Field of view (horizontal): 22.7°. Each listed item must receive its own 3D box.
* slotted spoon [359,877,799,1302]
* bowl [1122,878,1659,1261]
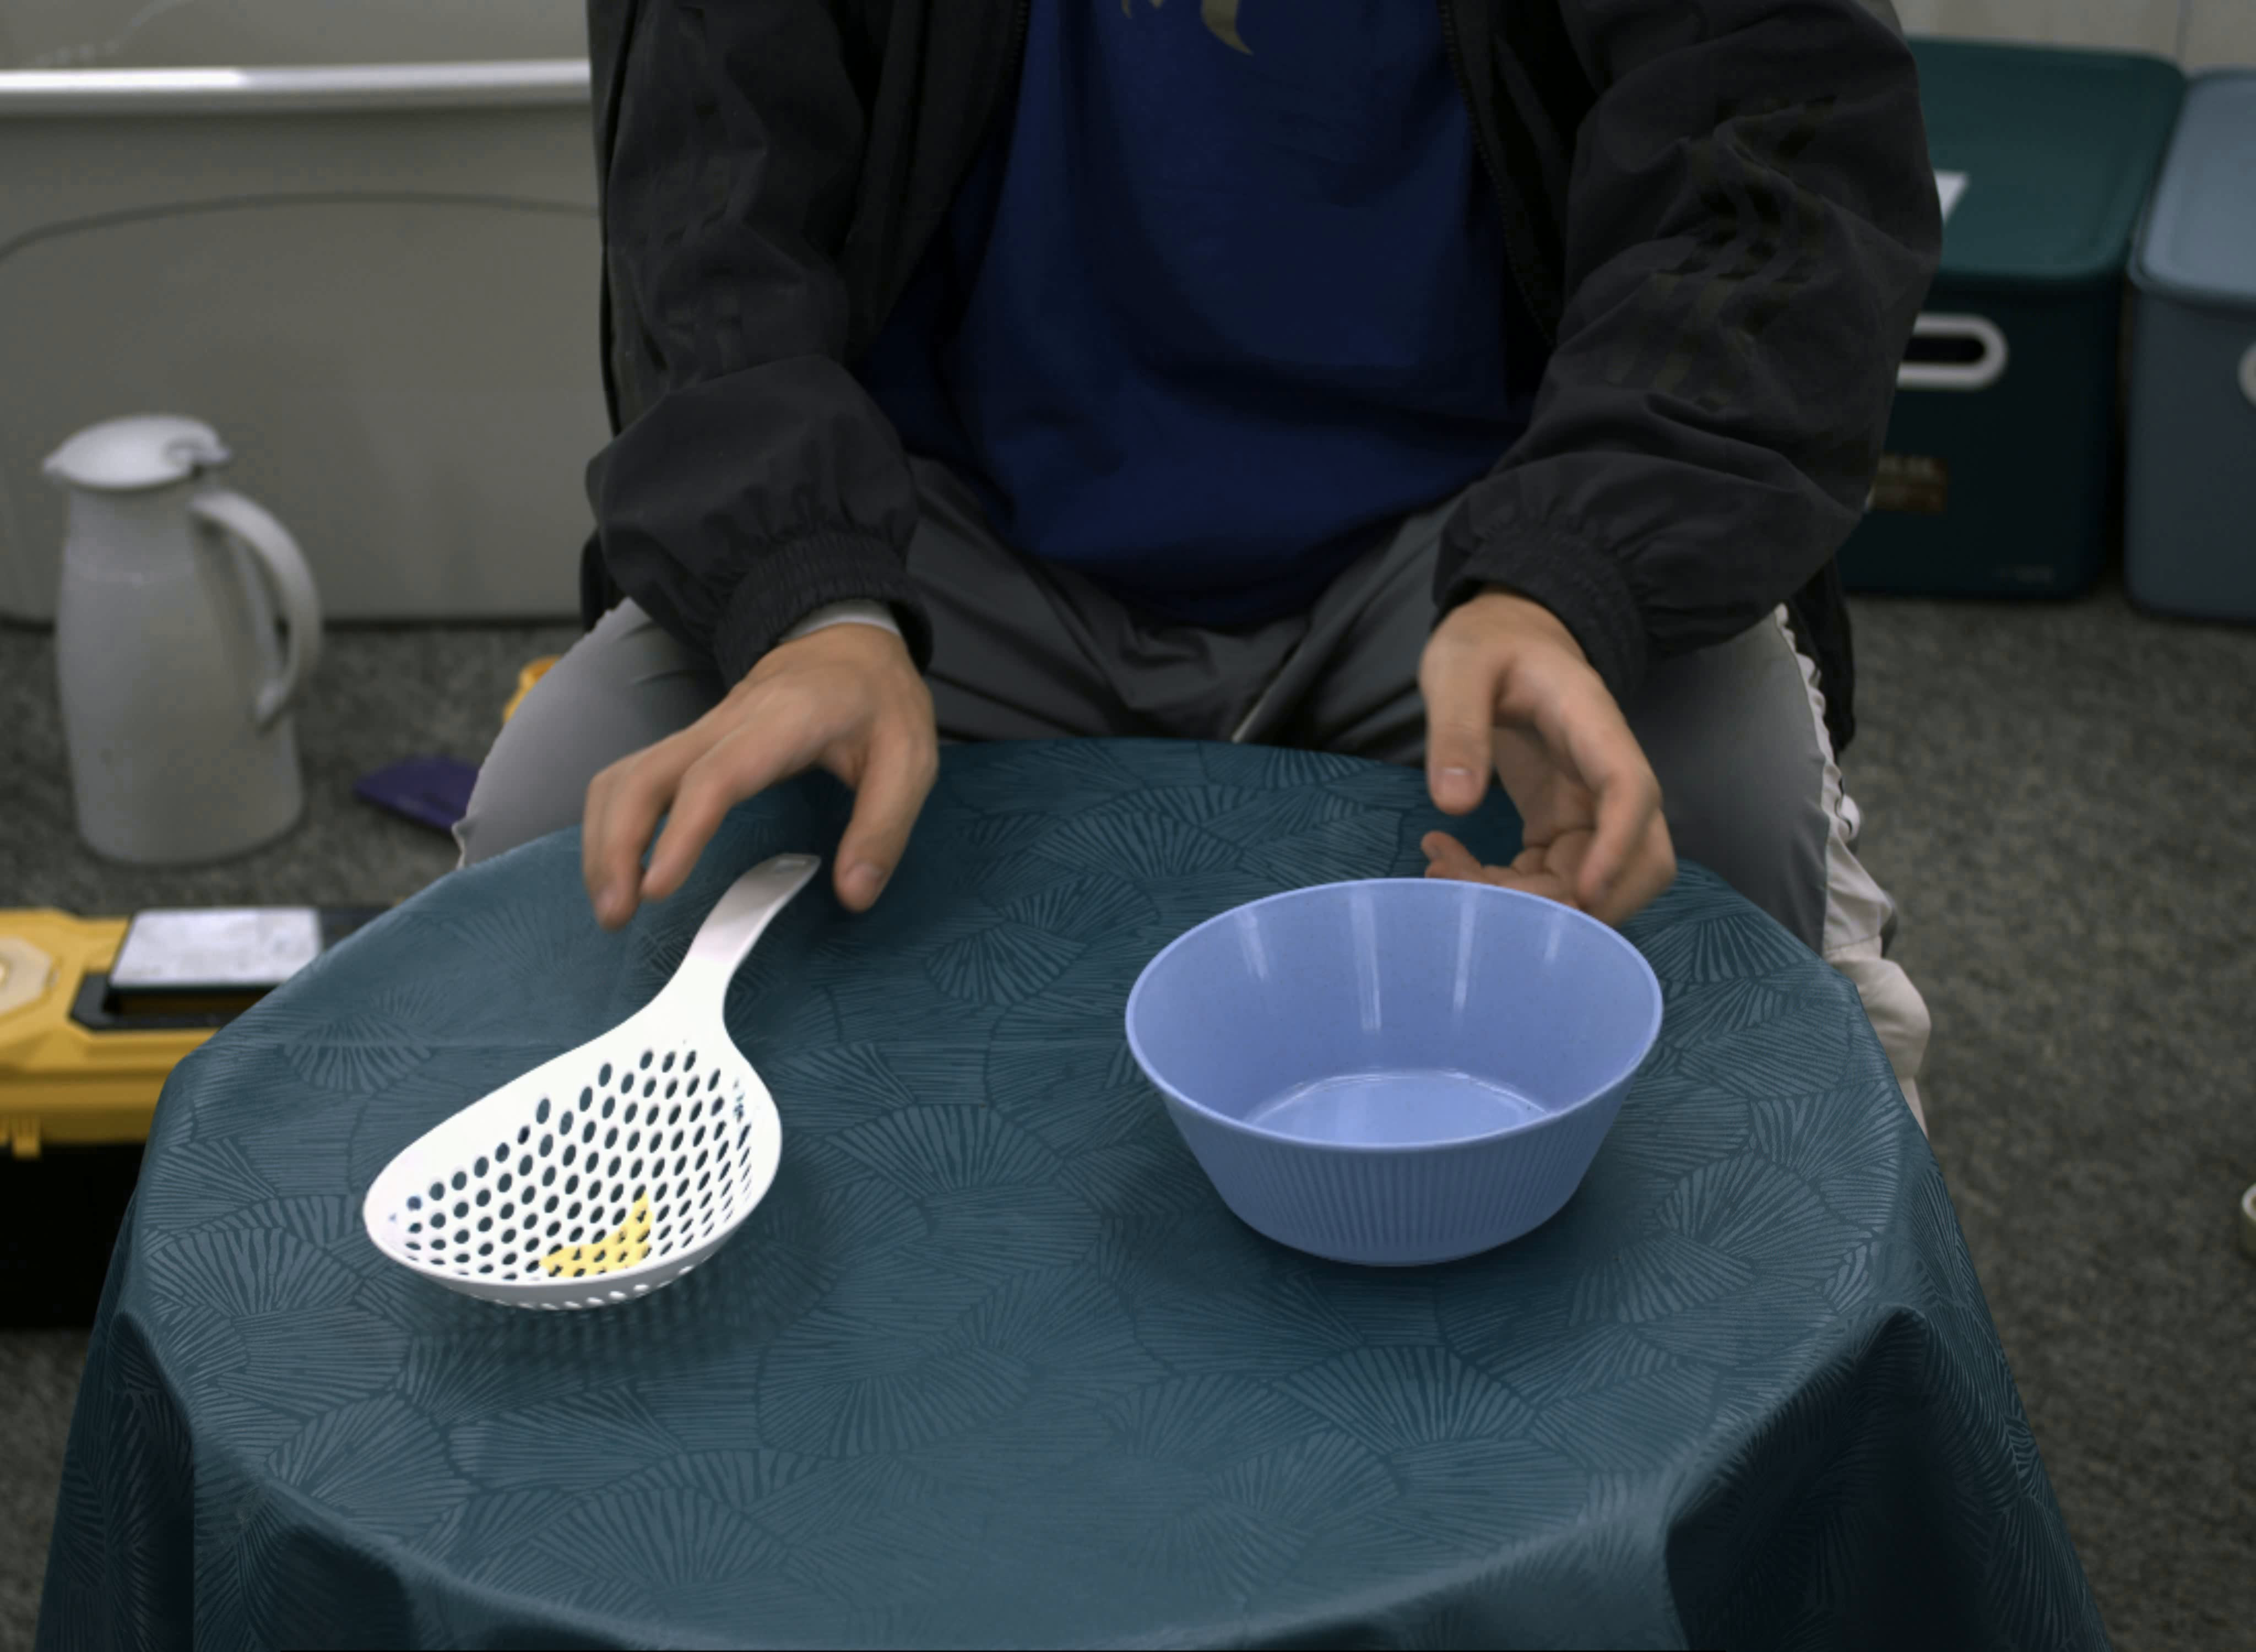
[{"bbox_3d":[-0.155,0.078,1.915,0.136,0.050,0.354,-4,26,13],"label":"slotted spoon"},{"bbox_3d":[0.087,0.086,1.846,0.175,0.069,0.179,-2,27,1],"label":"bowl"}]
